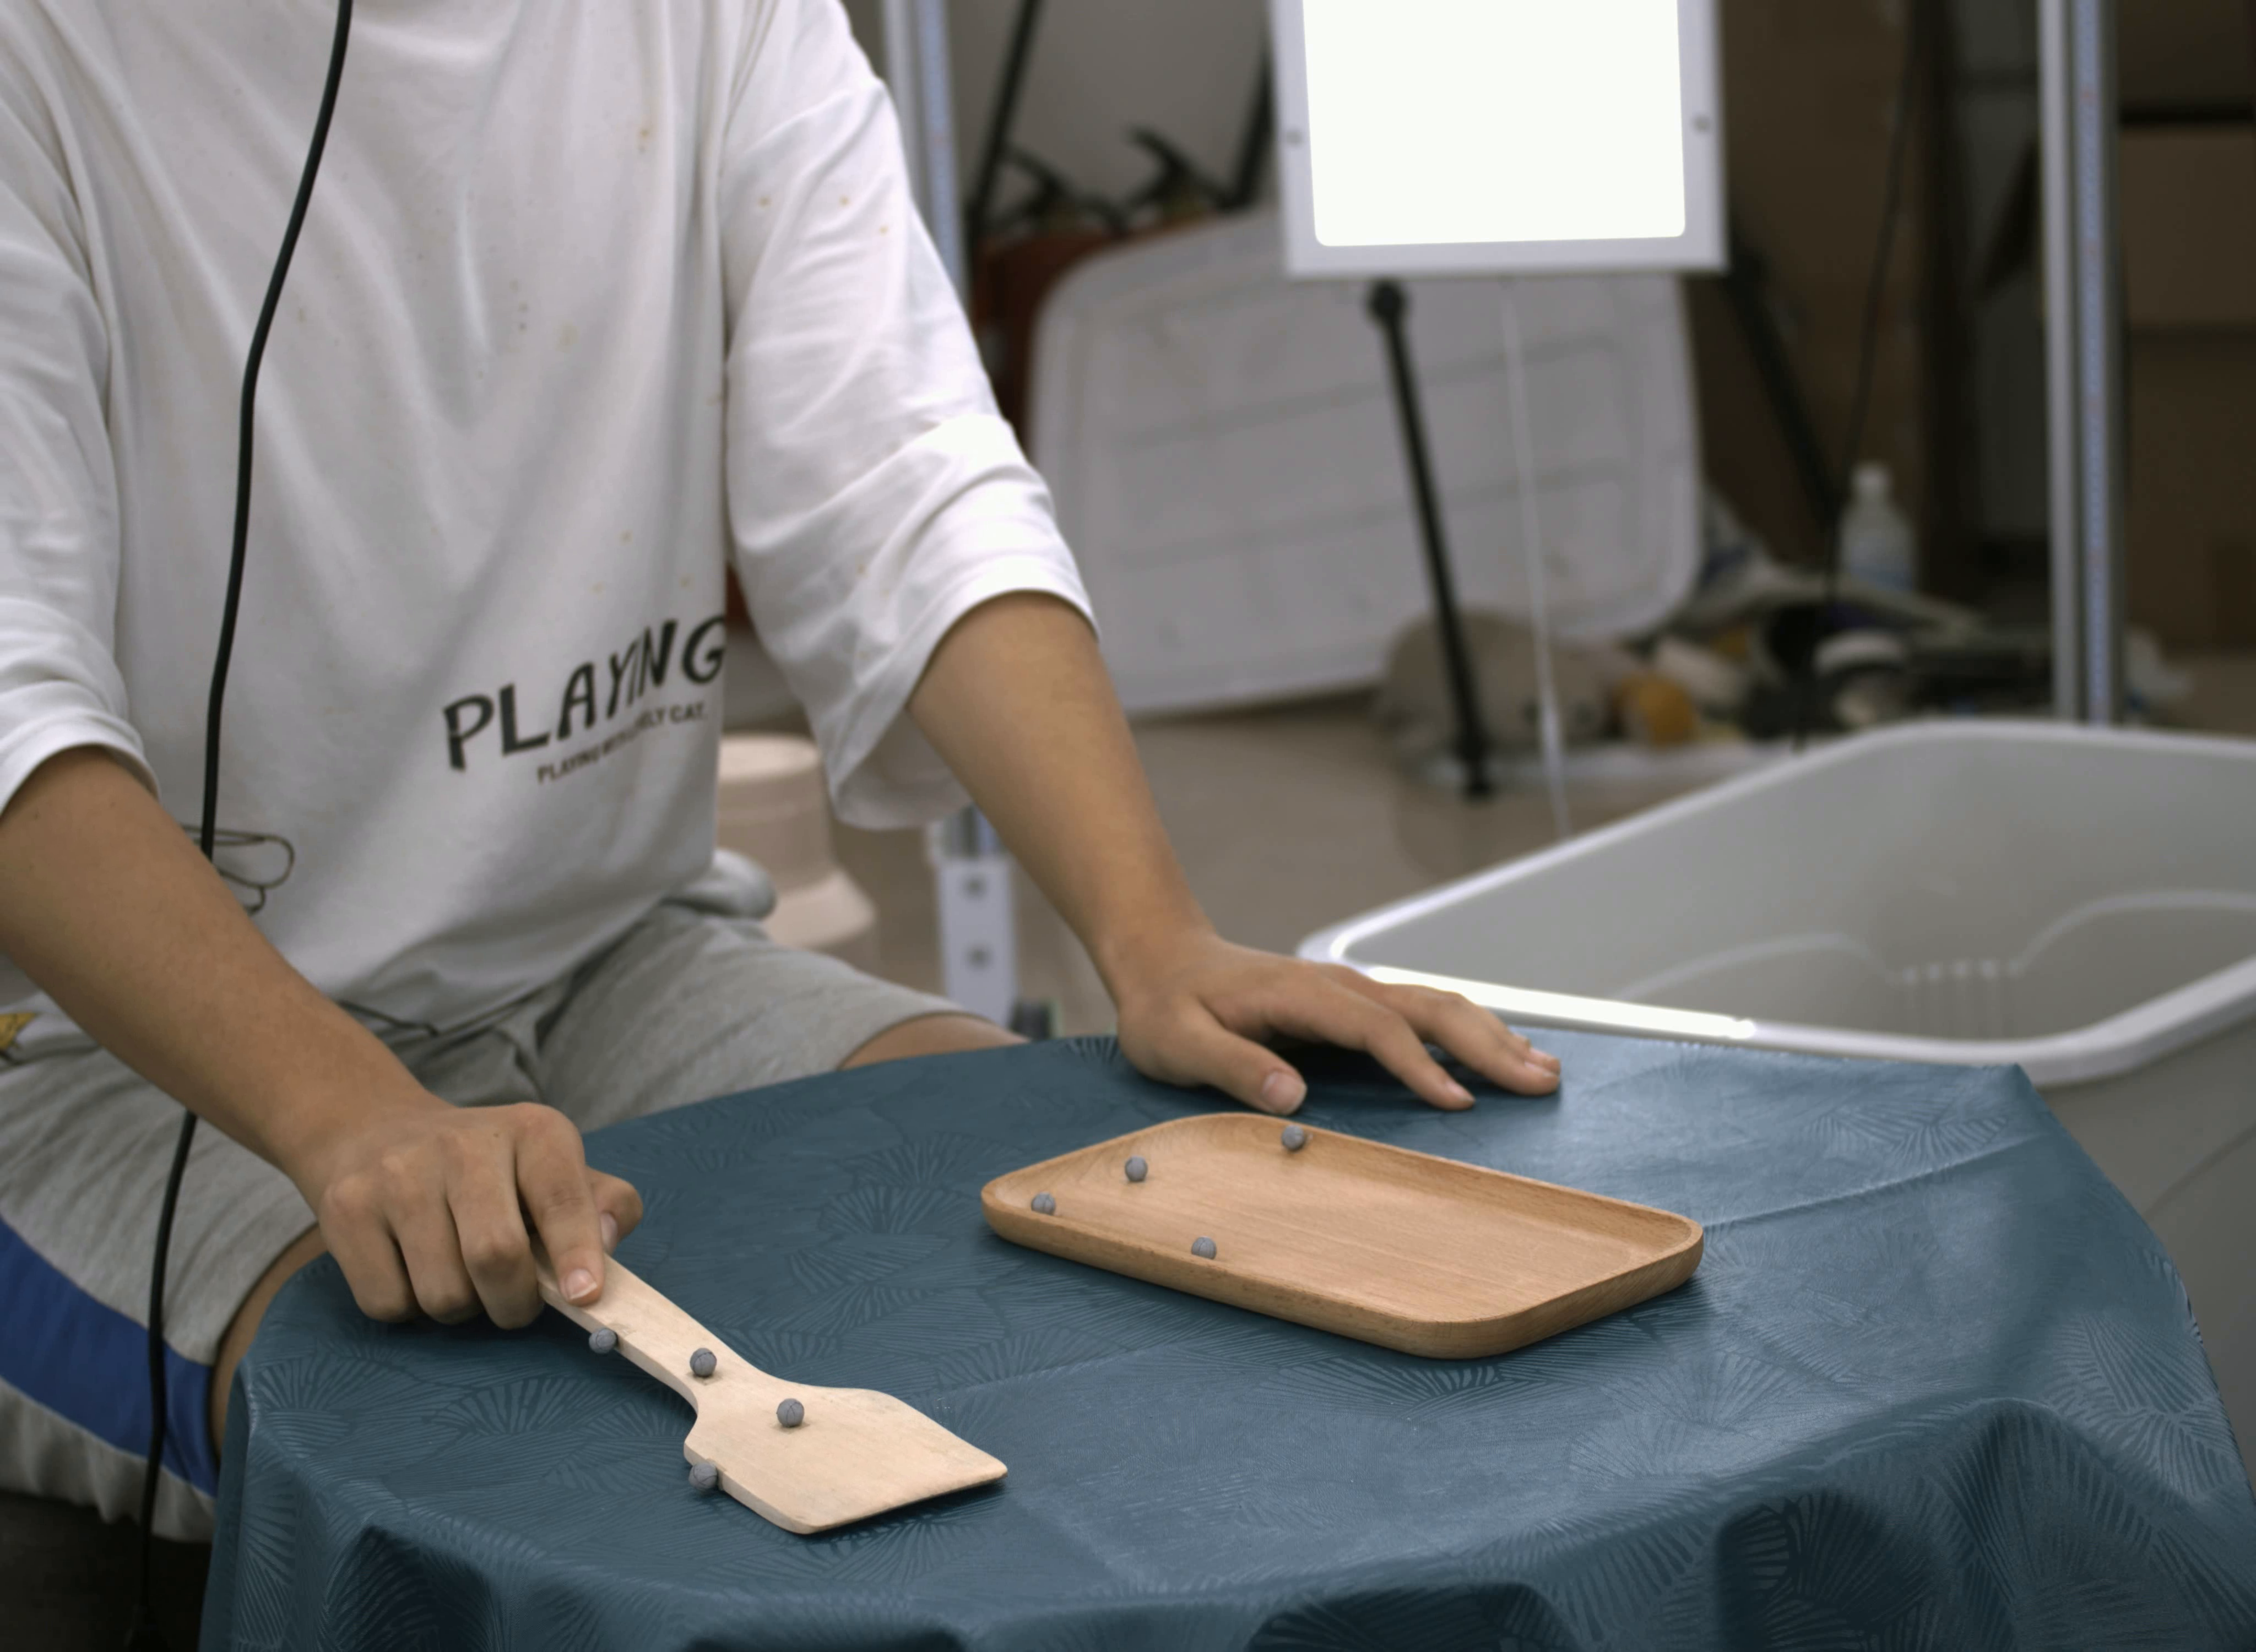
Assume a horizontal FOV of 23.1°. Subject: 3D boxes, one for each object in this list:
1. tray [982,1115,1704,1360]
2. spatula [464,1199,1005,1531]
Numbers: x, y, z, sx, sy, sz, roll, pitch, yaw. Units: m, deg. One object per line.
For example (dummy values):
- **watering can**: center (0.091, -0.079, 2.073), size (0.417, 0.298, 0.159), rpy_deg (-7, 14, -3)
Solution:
- **tray**: center (0.068, 0.133, 1.811), size (0.127, 0.023, 0.256), rpy_deg (-18, 19, -35)
- **spatula**: center (-0.139, 0.165, 1.735), size (0.071, 0.011, 0.298), rpy_deg (-15, 21, -28)
